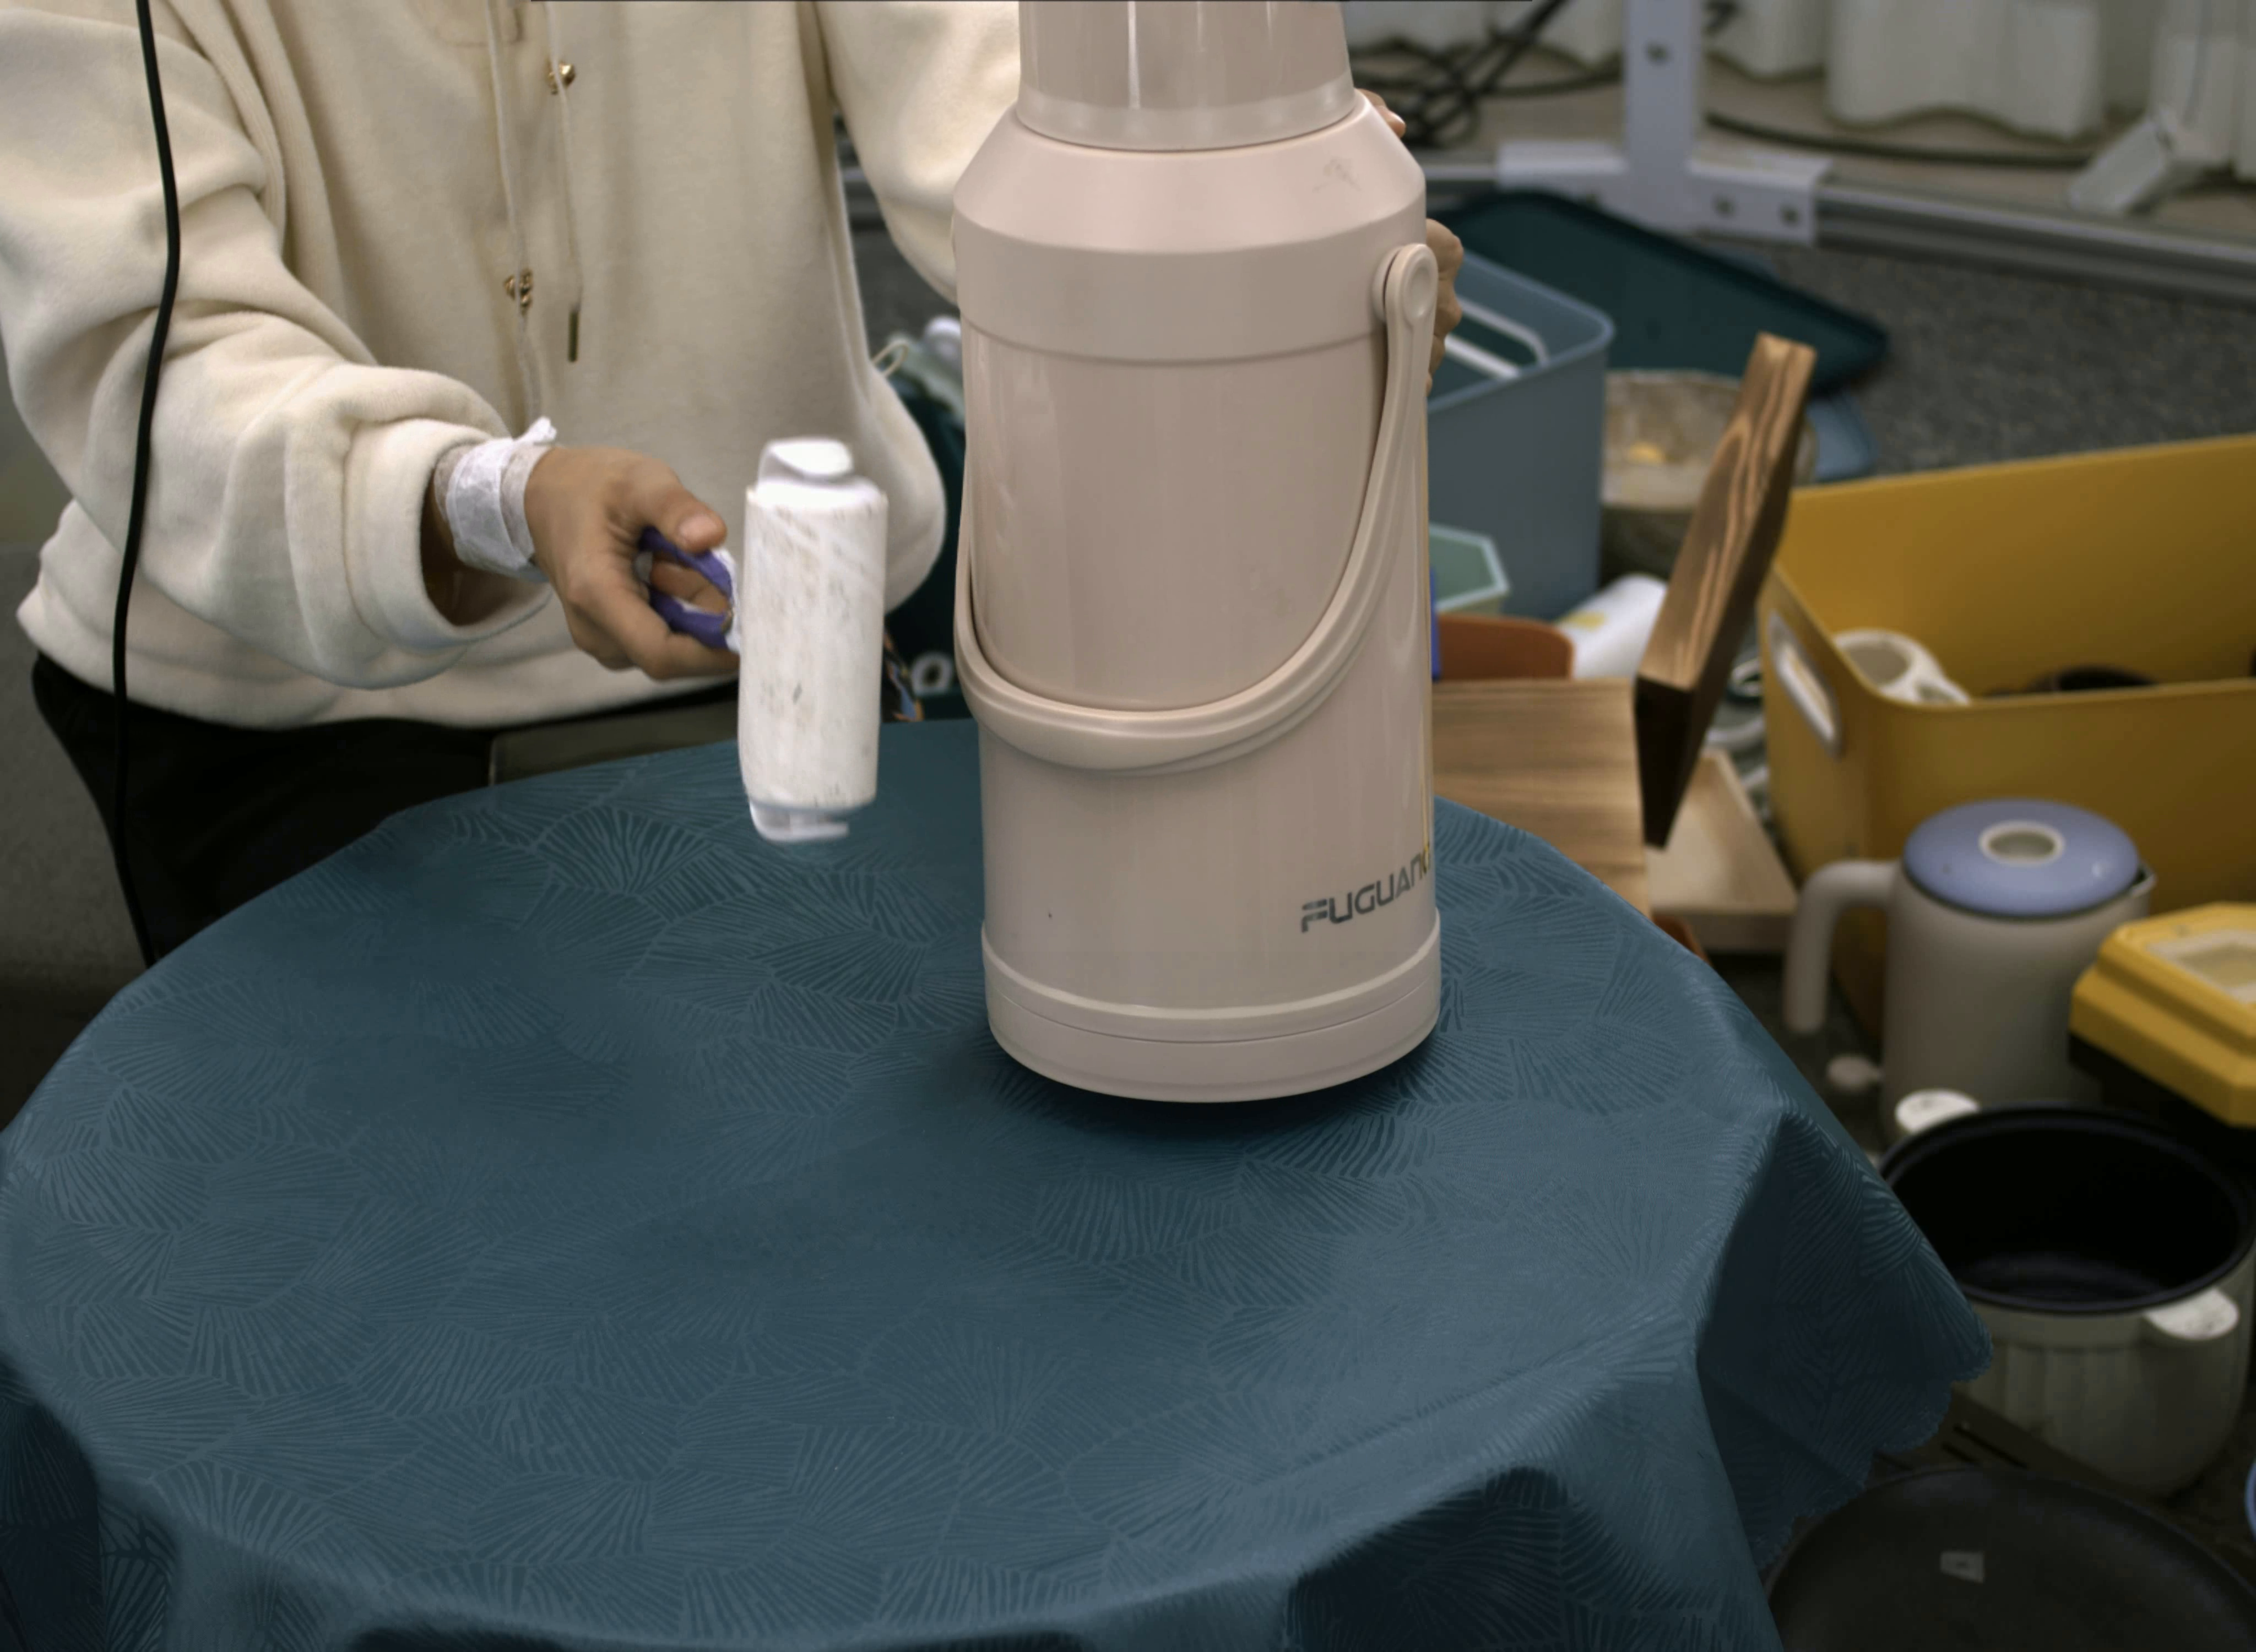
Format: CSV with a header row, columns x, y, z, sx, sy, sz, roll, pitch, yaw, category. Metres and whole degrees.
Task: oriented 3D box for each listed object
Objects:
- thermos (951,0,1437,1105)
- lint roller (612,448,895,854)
x,y,z,sx,sy,sz,roll,pitch,yaw,category
0.032,-0.124,1.896,0.174,0.403,0.210,10,23,31,thermos
-0.139,-0.073,1.883,0.050,0.132,0.180,-6,18,-36,lint roller
